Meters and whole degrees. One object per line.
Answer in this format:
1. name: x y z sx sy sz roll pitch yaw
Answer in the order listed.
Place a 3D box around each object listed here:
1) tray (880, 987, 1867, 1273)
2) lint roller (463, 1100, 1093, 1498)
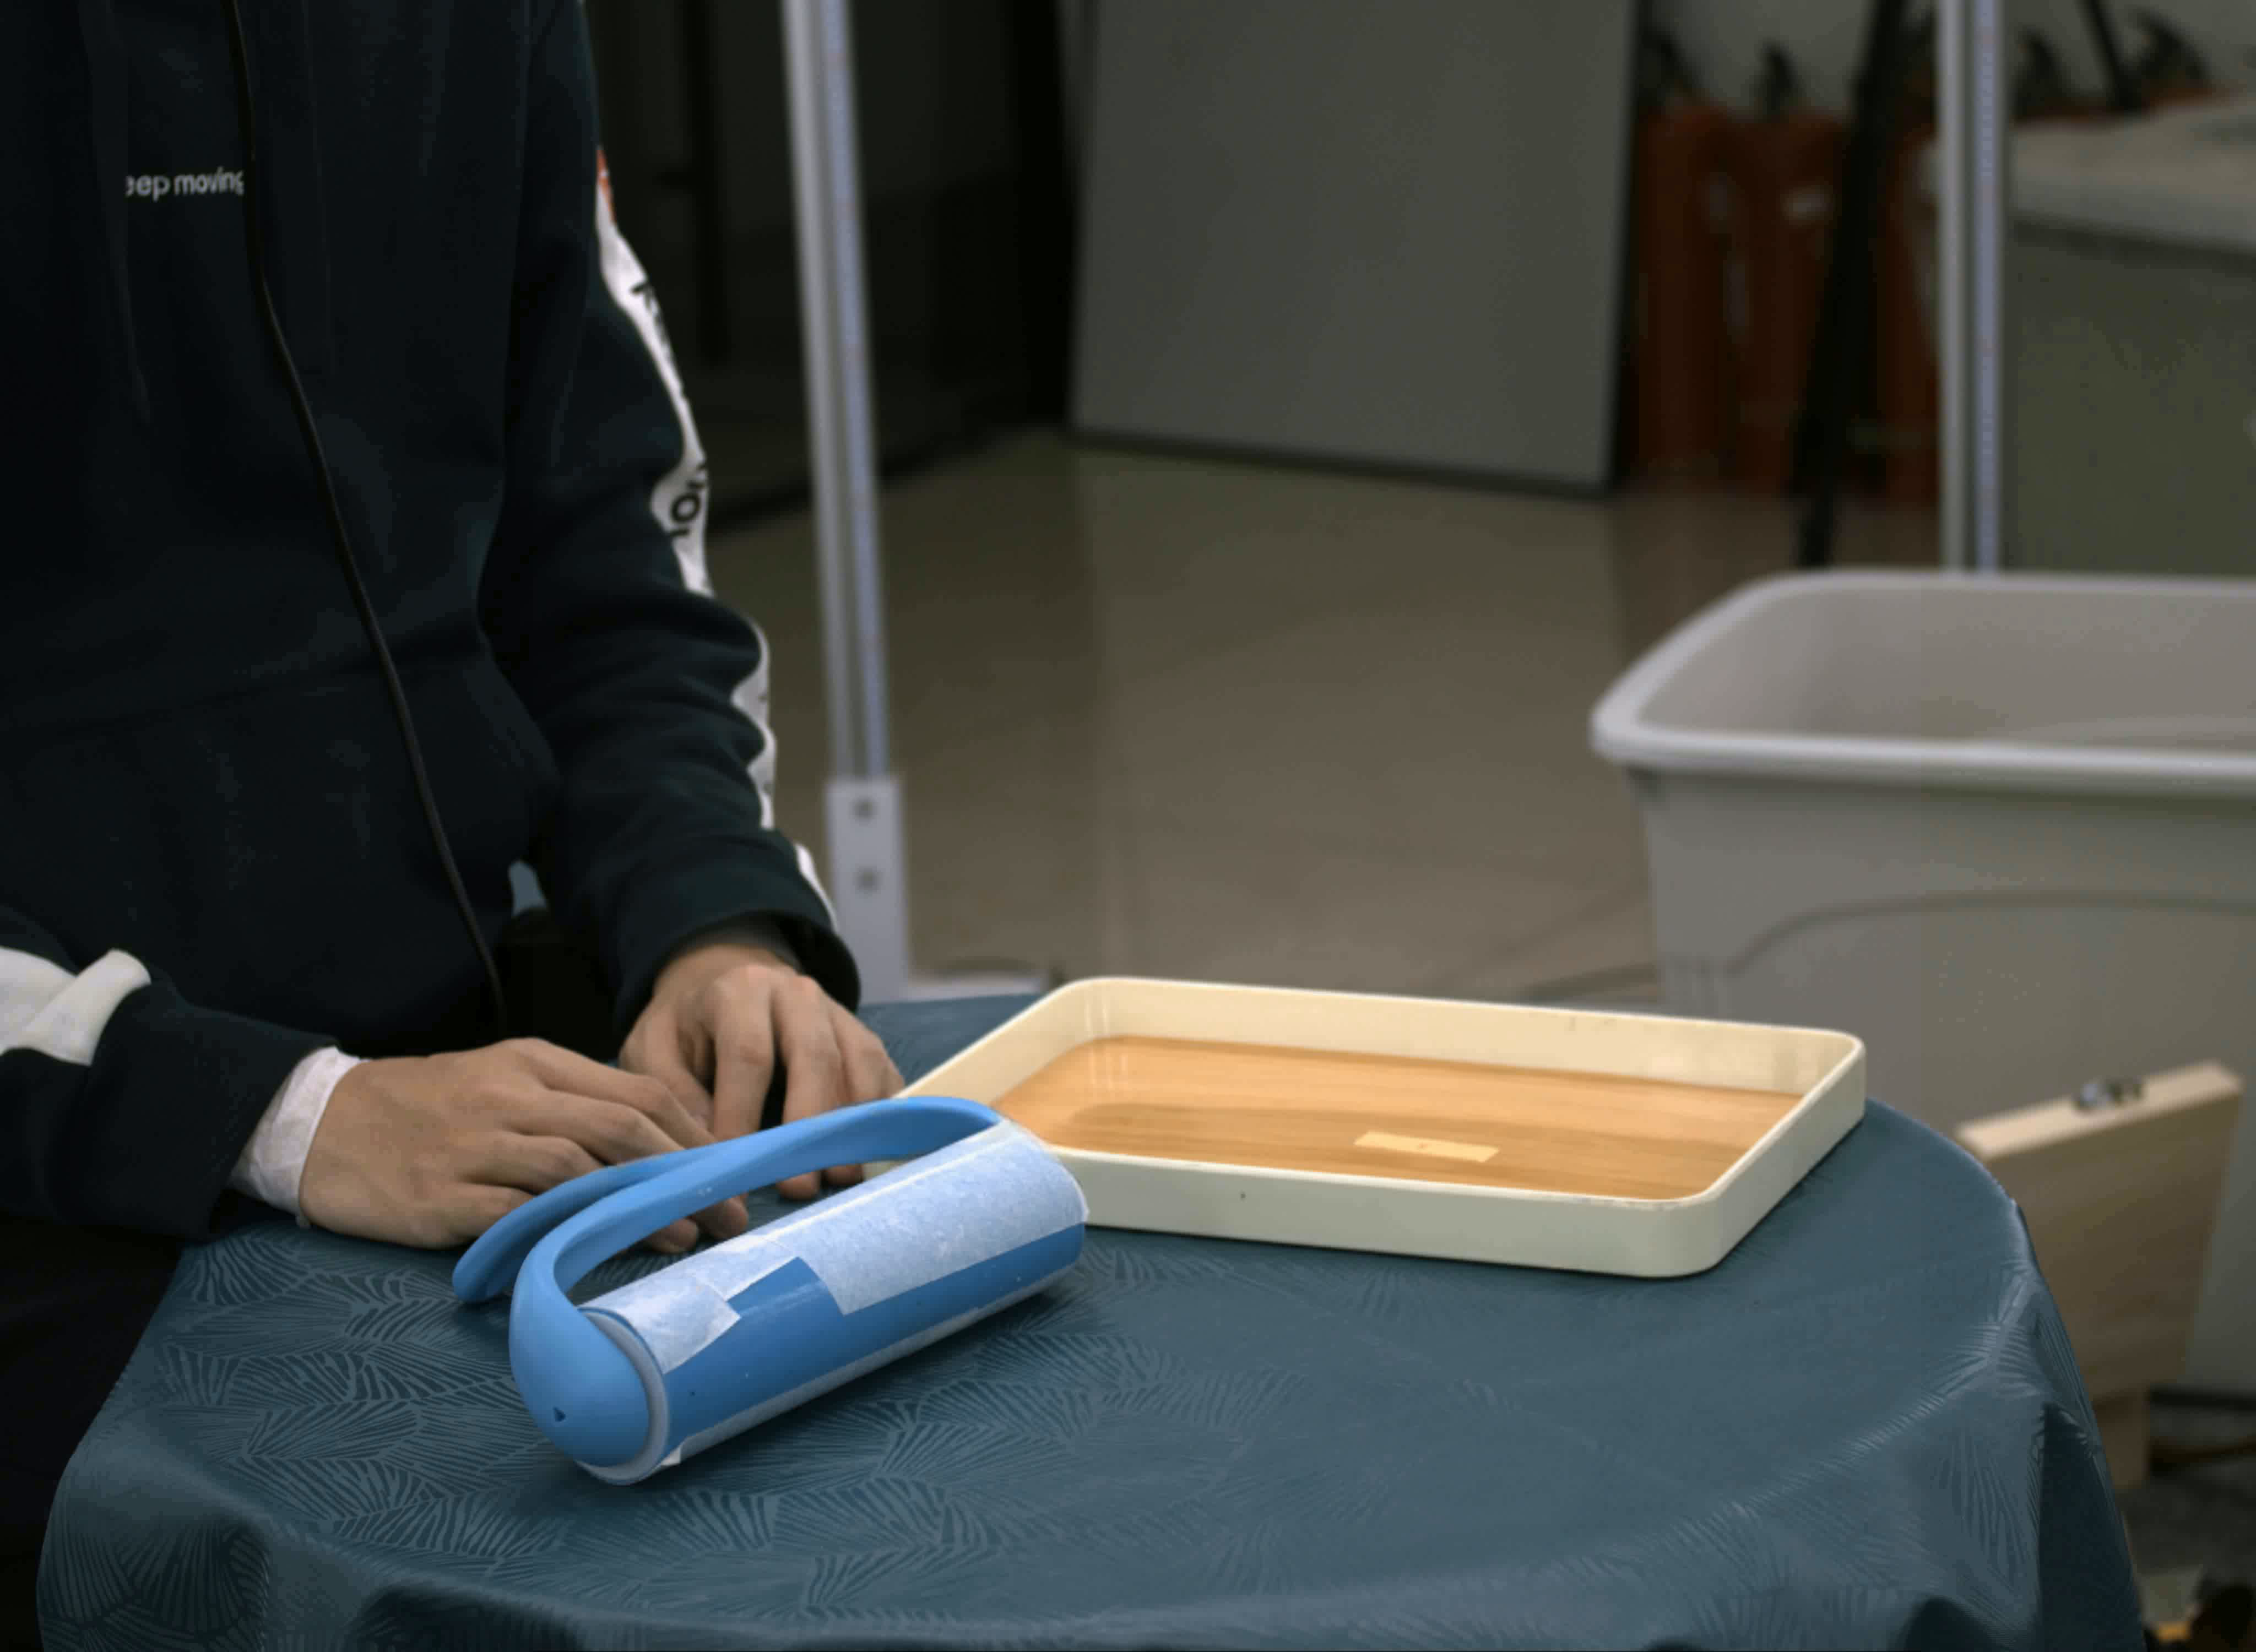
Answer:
1. tray: 0.080 0.098 1.786 0.301 0.028 0.189 3 15 26
2. lint roller: -0.136 0.135 1.640 0.181 0.068 0.225 6 19 34
